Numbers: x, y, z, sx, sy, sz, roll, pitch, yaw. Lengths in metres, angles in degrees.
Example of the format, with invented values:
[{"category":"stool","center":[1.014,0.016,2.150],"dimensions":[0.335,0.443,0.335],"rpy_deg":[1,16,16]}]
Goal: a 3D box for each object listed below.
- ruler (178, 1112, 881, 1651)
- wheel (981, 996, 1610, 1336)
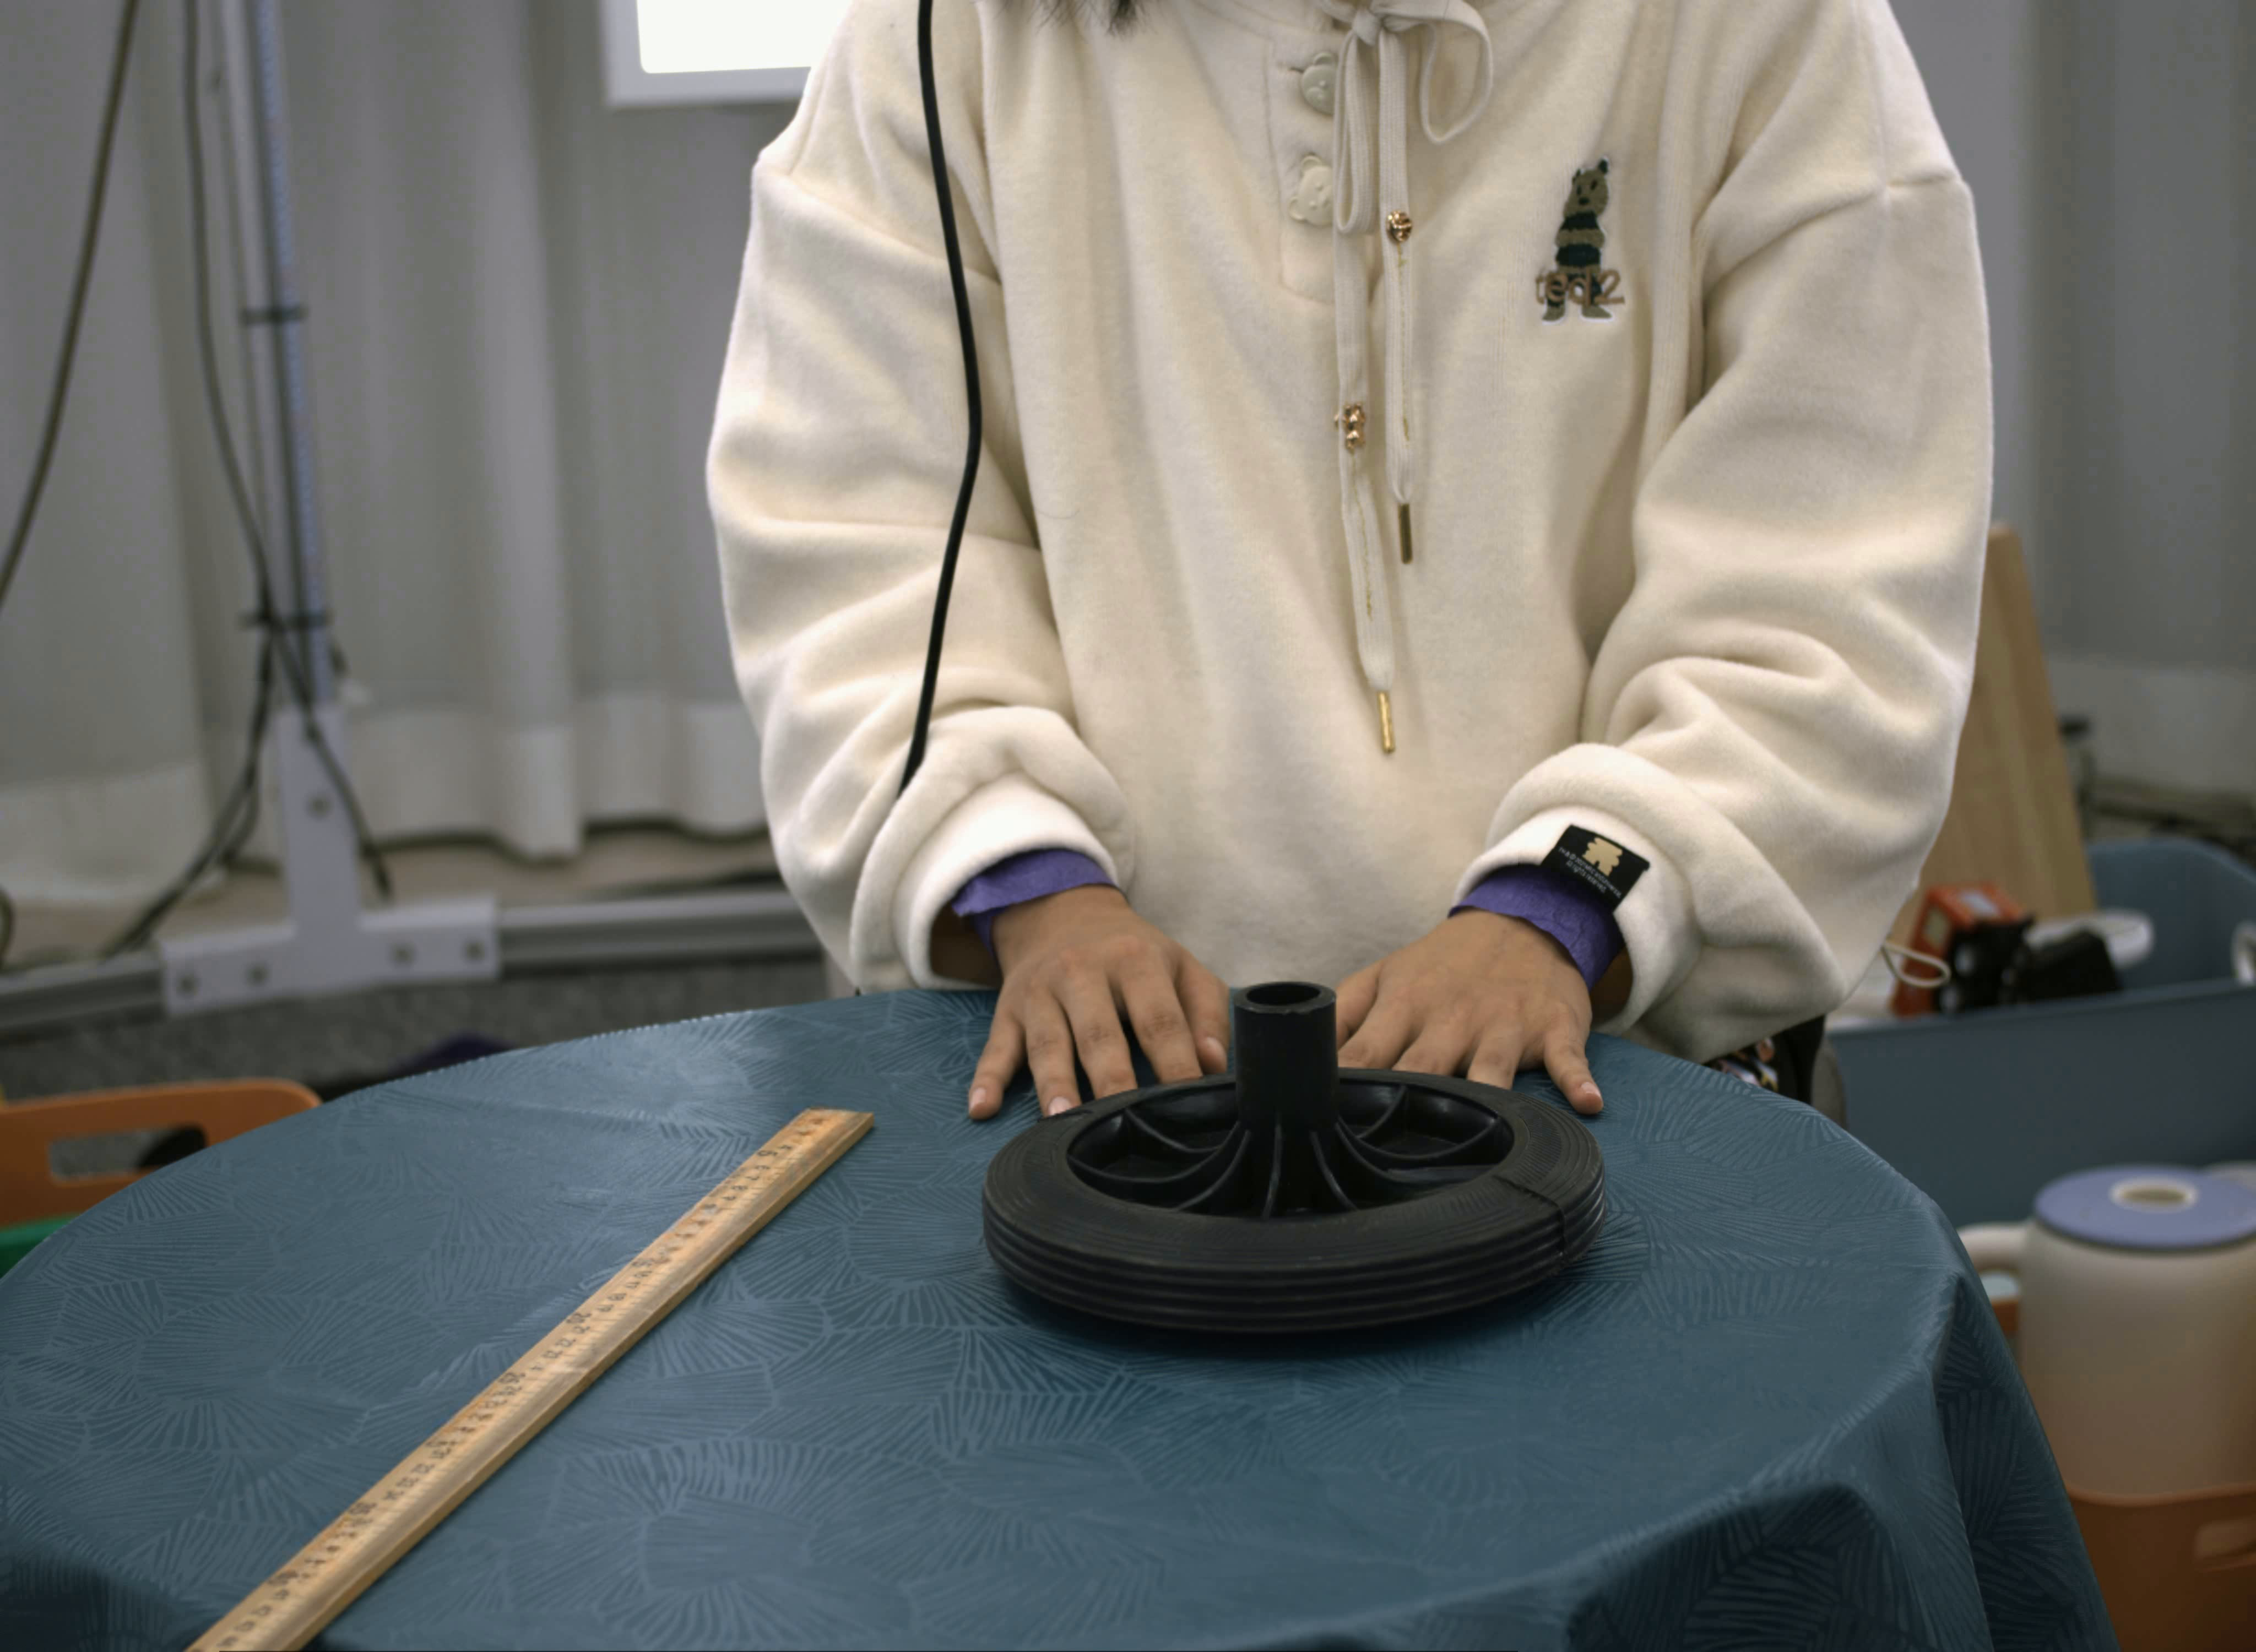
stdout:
[{"category":"ruler","center":[-0.169,0.160,1.565],"dimensions":[0.027,0.006,0.502],"rpy_deg":[1,15,18]},{"category":"wheel","center":[0.049,0.093,1.639],"dimensions":[0.189,0.079,0.189],"rpy_deg":[-7,15,-18]}]
